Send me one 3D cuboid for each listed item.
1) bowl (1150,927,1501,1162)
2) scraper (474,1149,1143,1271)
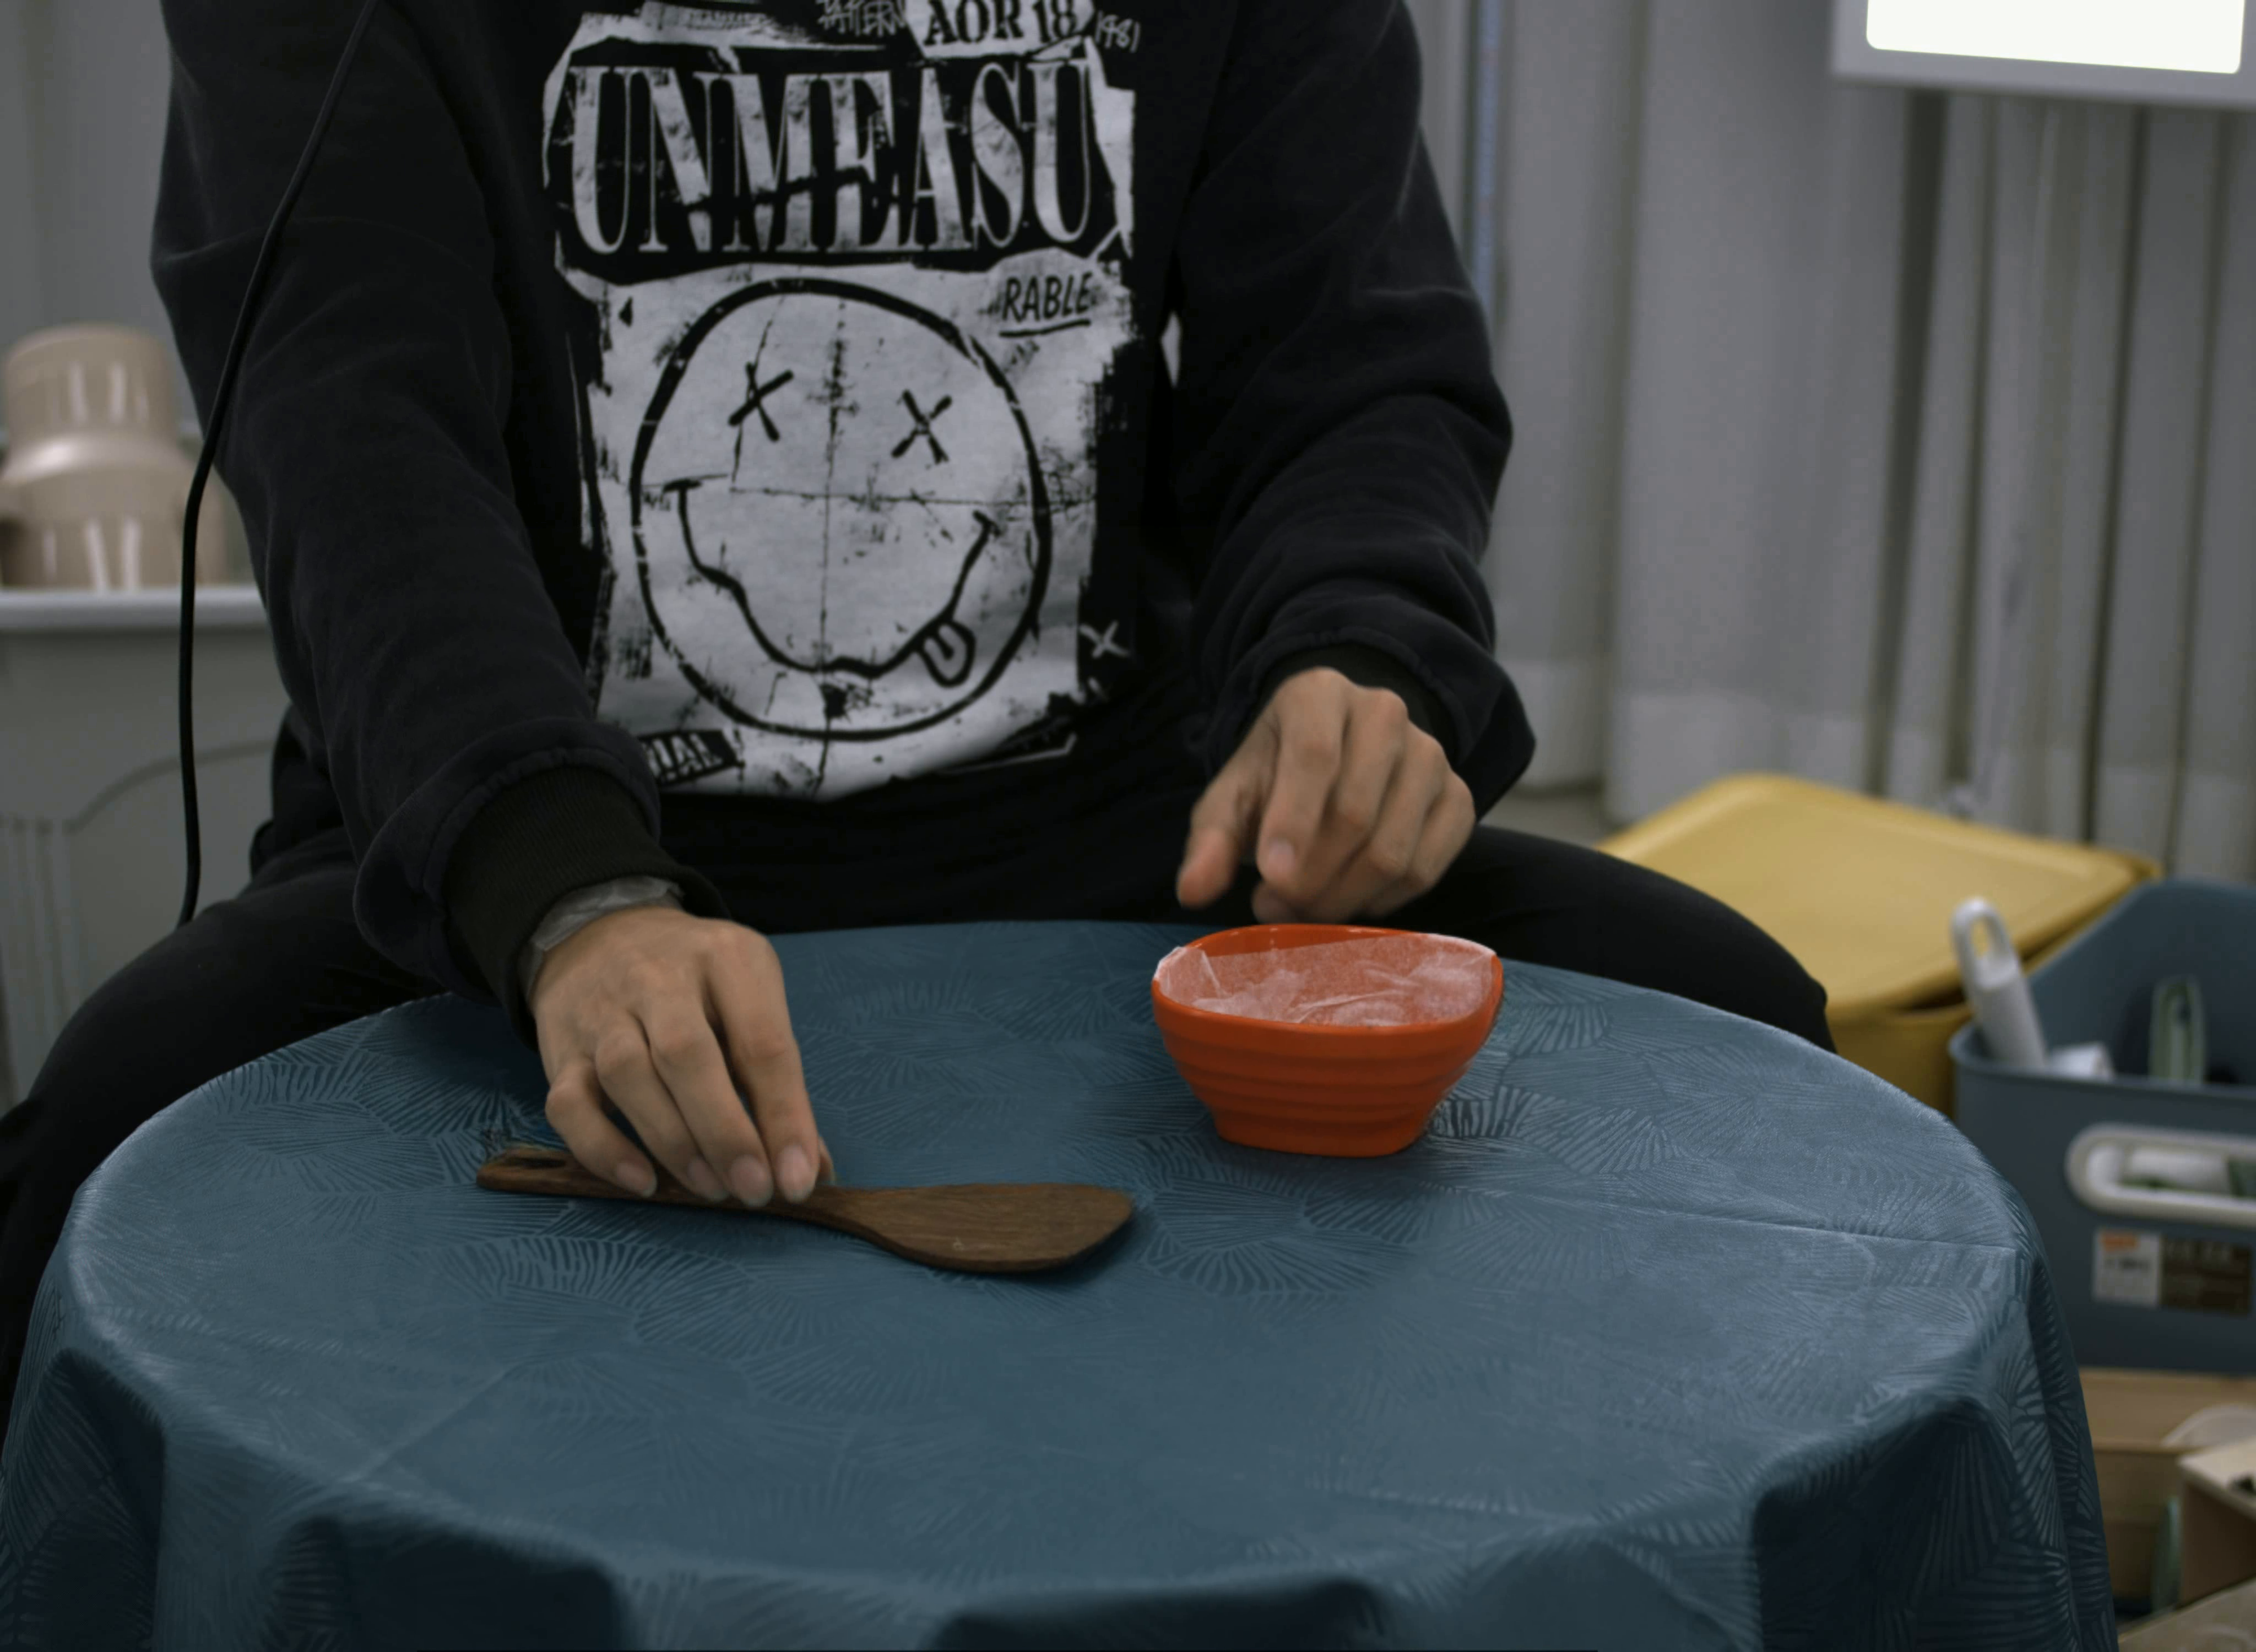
[{"bbox_3d":[0.063,0.072,1.685,0.118,0.052,0.118,0,17,1],"label":"bowl"},{"bbox_3d":[-0.101,0.114,1.604,0.209,0.011,0.076,5,15,18],"label":"scraper"}]
